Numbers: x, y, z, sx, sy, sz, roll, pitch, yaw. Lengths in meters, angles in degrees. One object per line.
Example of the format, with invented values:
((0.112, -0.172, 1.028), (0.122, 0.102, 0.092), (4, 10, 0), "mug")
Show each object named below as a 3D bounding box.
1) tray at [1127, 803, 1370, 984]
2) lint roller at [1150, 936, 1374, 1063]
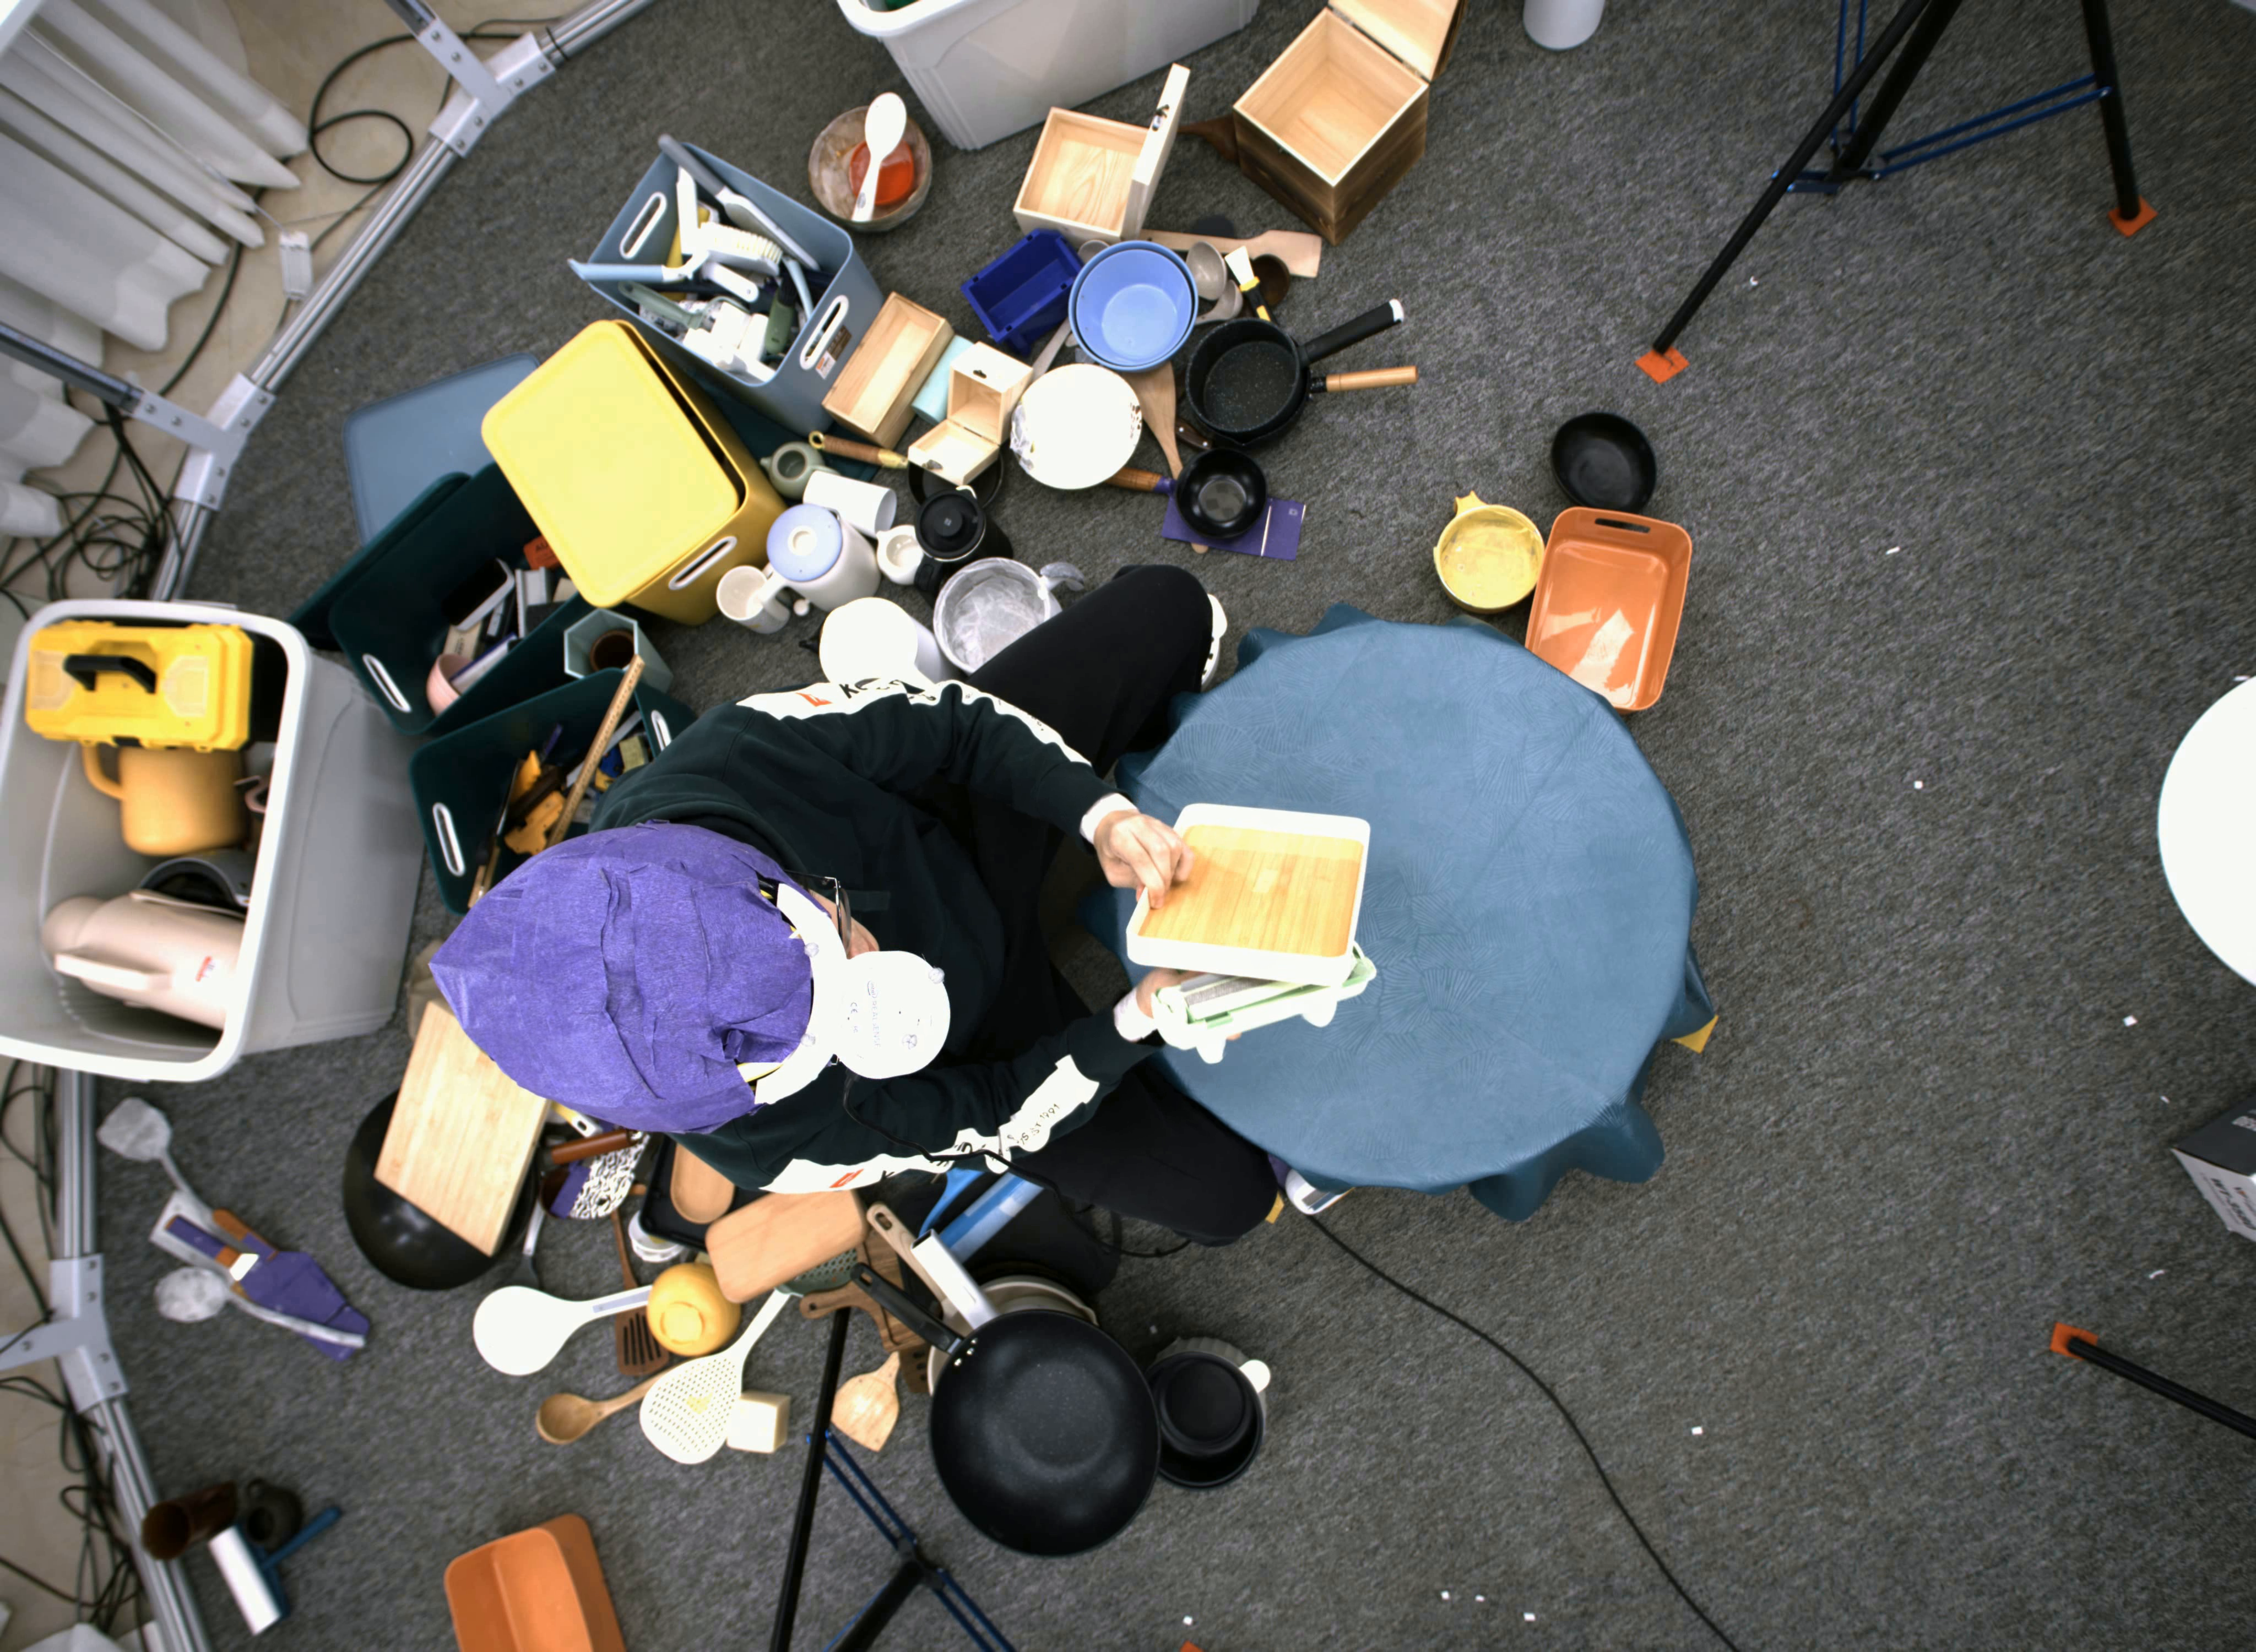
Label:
((0.119, 0.053, 1.271), (0.192, 0.293, 0.028), (5, 115, 11), "tray")
((0.092, 0.152, 1.235), (0.196, 0.185, 0.082), (-14, 89, -26), "lint roller")
